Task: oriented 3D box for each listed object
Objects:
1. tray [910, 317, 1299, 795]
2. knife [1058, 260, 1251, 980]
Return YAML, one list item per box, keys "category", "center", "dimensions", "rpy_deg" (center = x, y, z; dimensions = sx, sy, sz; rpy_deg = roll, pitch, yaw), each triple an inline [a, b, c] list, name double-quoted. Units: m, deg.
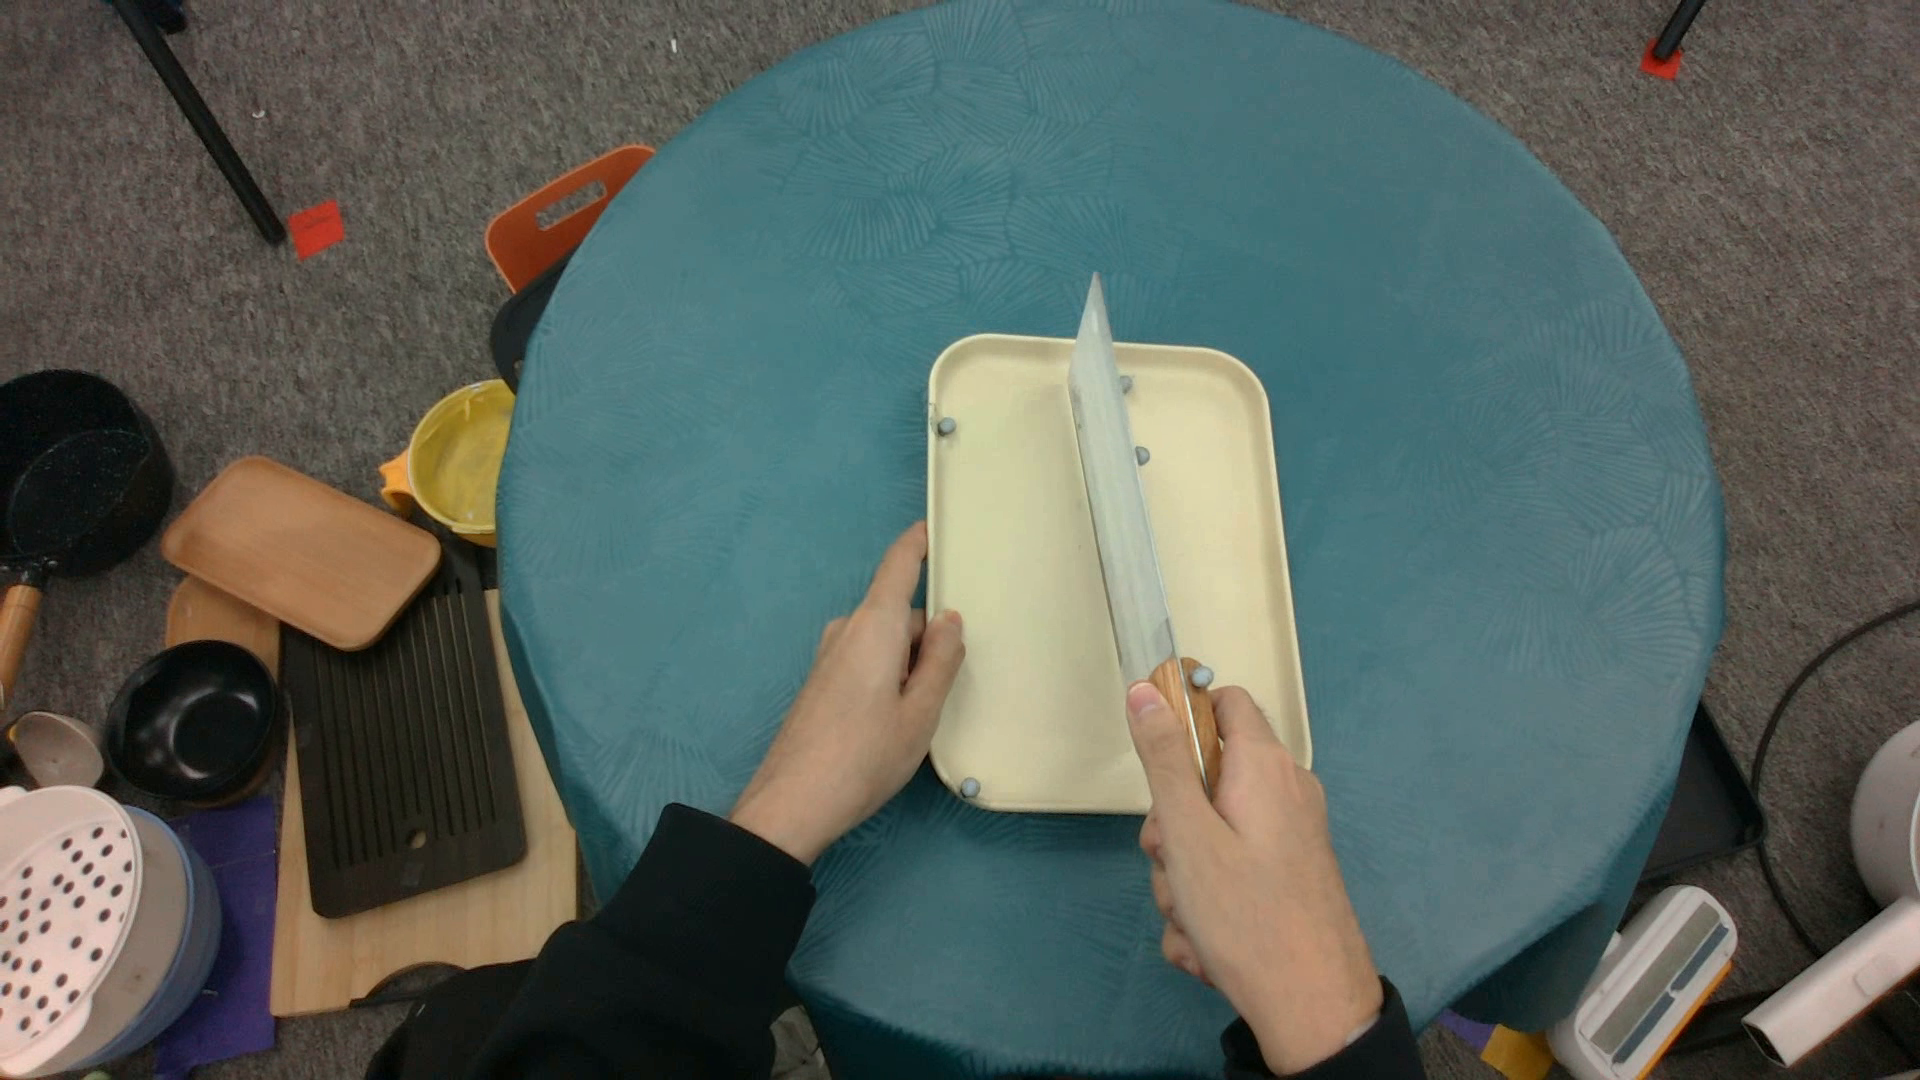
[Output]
- category: "tray"
  center: [0.062, 0.002, 0.638]
  dimensions: [0.171, 0.017, 0.240]
  rpy_deg: [3, 63, -7]
- category: "knife"
  center: [0.071, 0.029, 0.575]
  dimensions: [0.021, 0.092, 0.307]
  rpy_deg: [-3, 65, -10]
